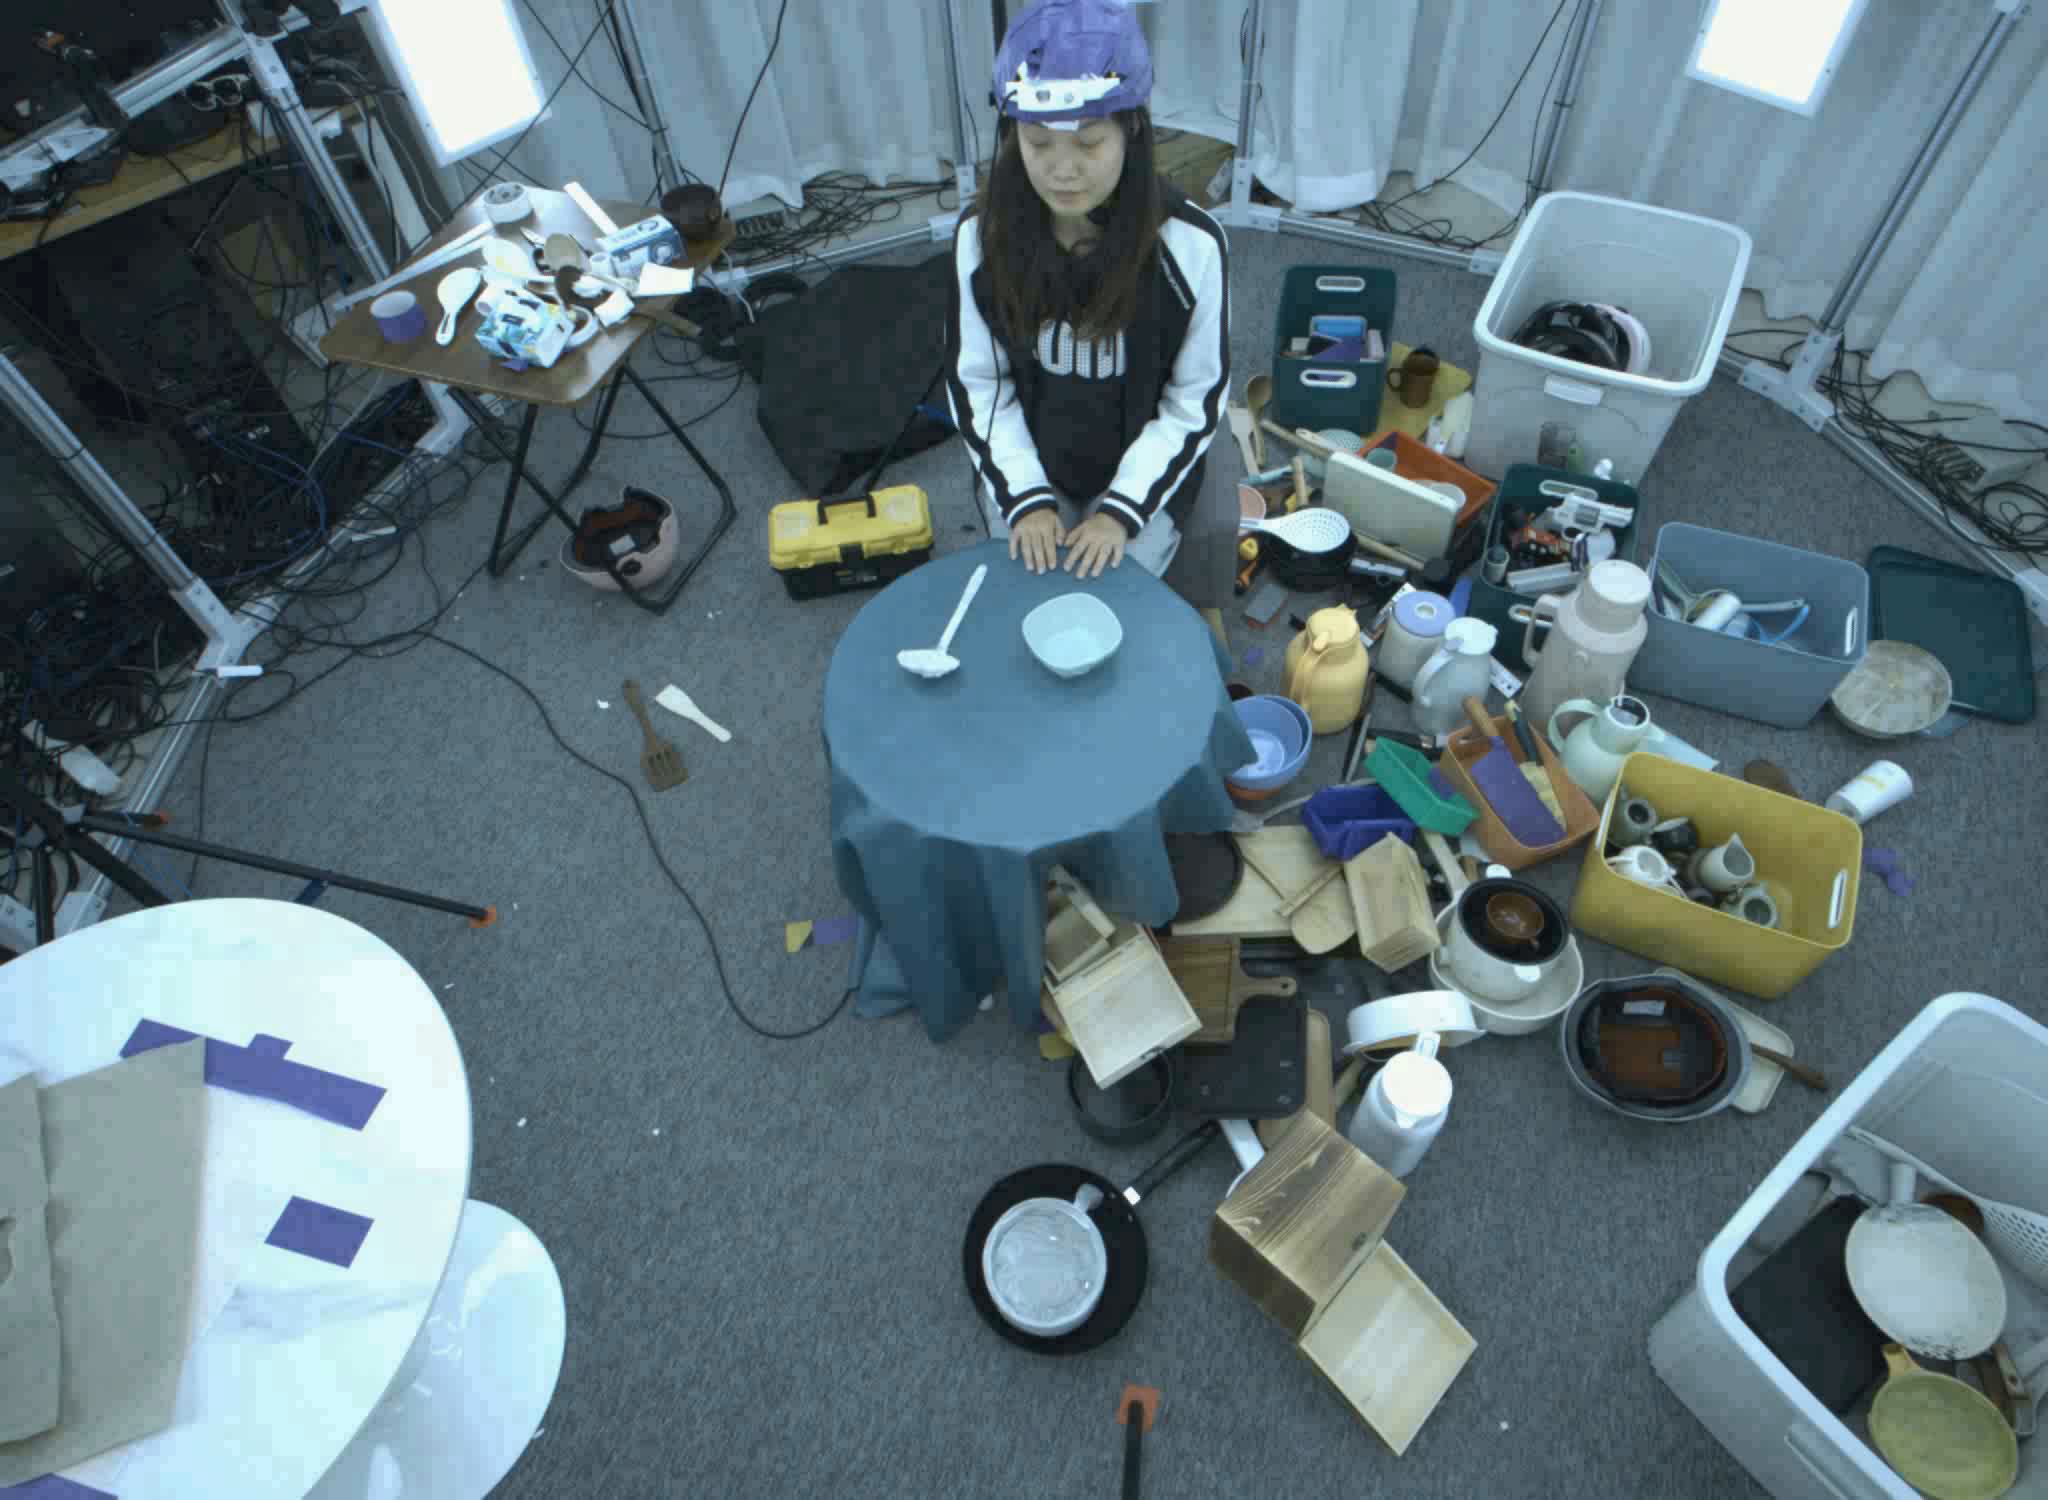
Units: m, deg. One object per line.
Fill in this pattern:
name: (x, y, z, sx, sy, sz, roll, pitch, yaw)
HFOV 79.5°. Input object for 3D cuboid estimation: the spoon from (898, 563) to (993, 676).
spoon: (-0.104, -0.211, 1.905, 0.100, 0.060, 0.277, 20, 58, 10)

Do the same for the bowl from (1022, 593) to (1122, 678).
bowl: (0.073, -0.165, 1.869, 0.151, 0.059, 0.150, 0, 55, 2)
